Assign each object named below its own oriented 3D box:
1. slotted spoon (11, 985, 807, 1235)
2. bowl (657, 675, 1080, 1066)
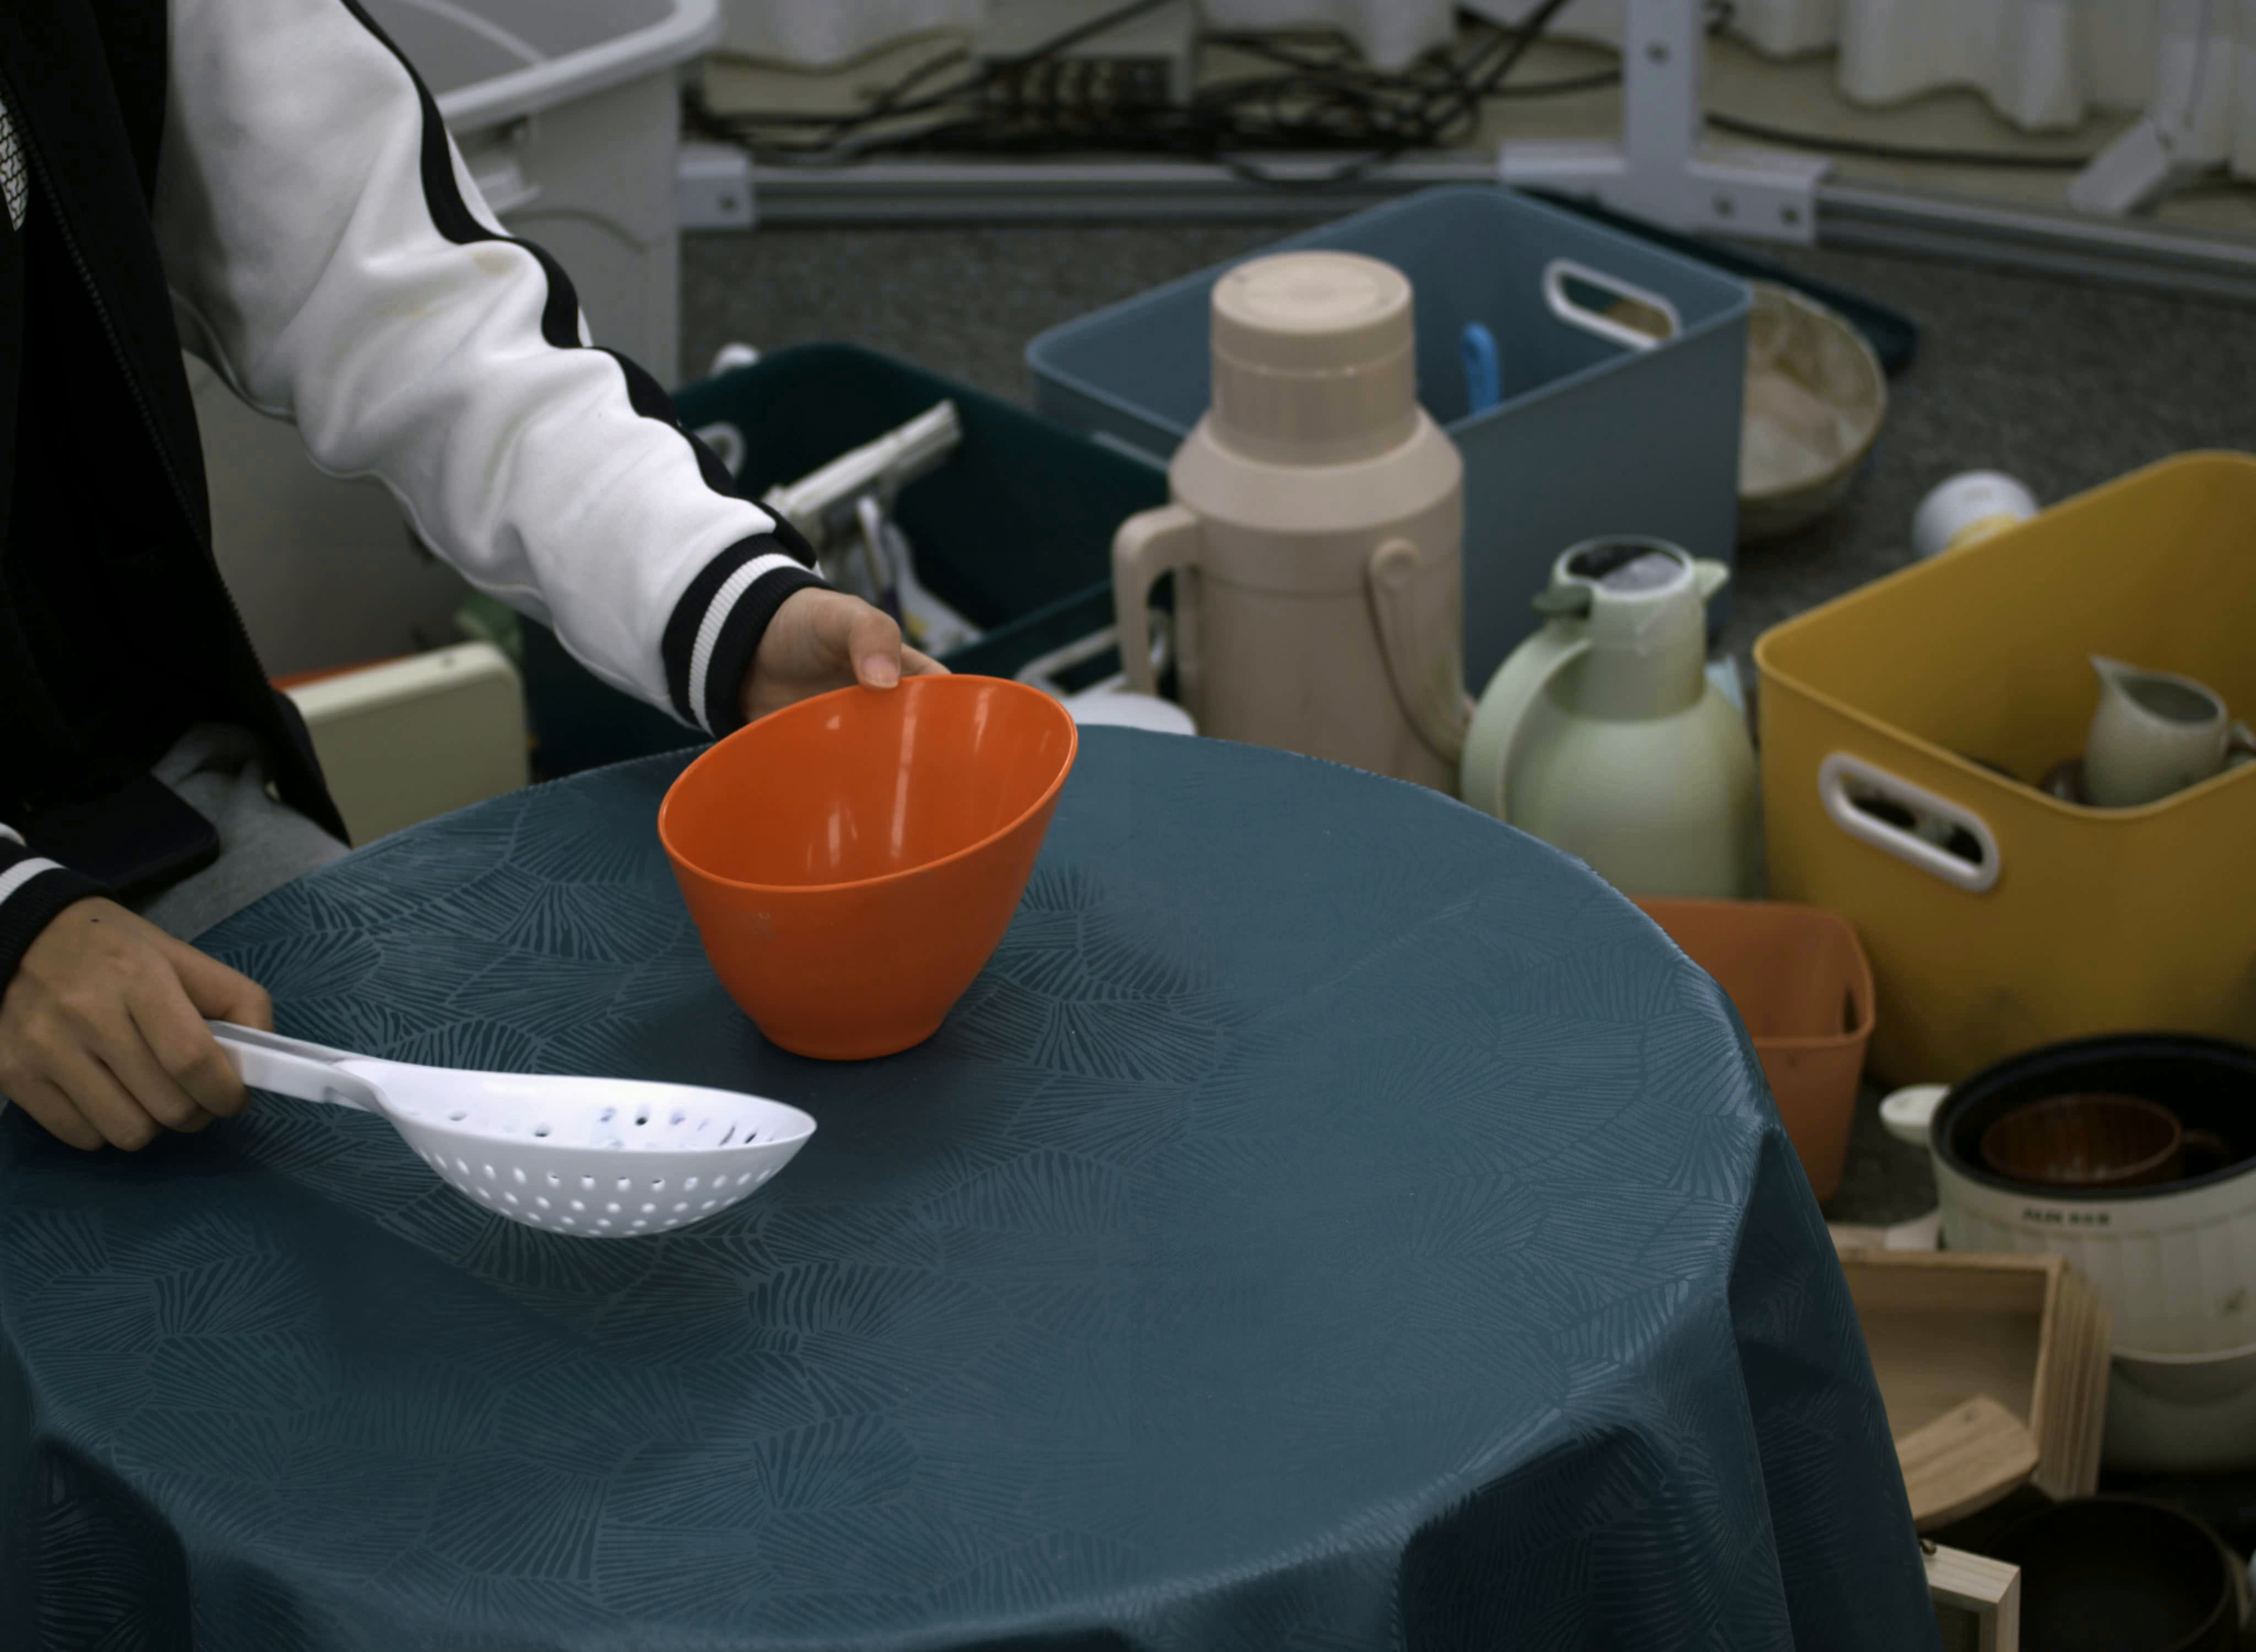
[{"bbox_3d":[-0.251,0.085,1.855,0.348,0.046,0.136,15,9,39],"label":"slotted spoon"},{"bbox_3d":[-0.088,0.021,1.954,0.147,0.103,0.150,-1,28,1],"label":"bowl"}]
